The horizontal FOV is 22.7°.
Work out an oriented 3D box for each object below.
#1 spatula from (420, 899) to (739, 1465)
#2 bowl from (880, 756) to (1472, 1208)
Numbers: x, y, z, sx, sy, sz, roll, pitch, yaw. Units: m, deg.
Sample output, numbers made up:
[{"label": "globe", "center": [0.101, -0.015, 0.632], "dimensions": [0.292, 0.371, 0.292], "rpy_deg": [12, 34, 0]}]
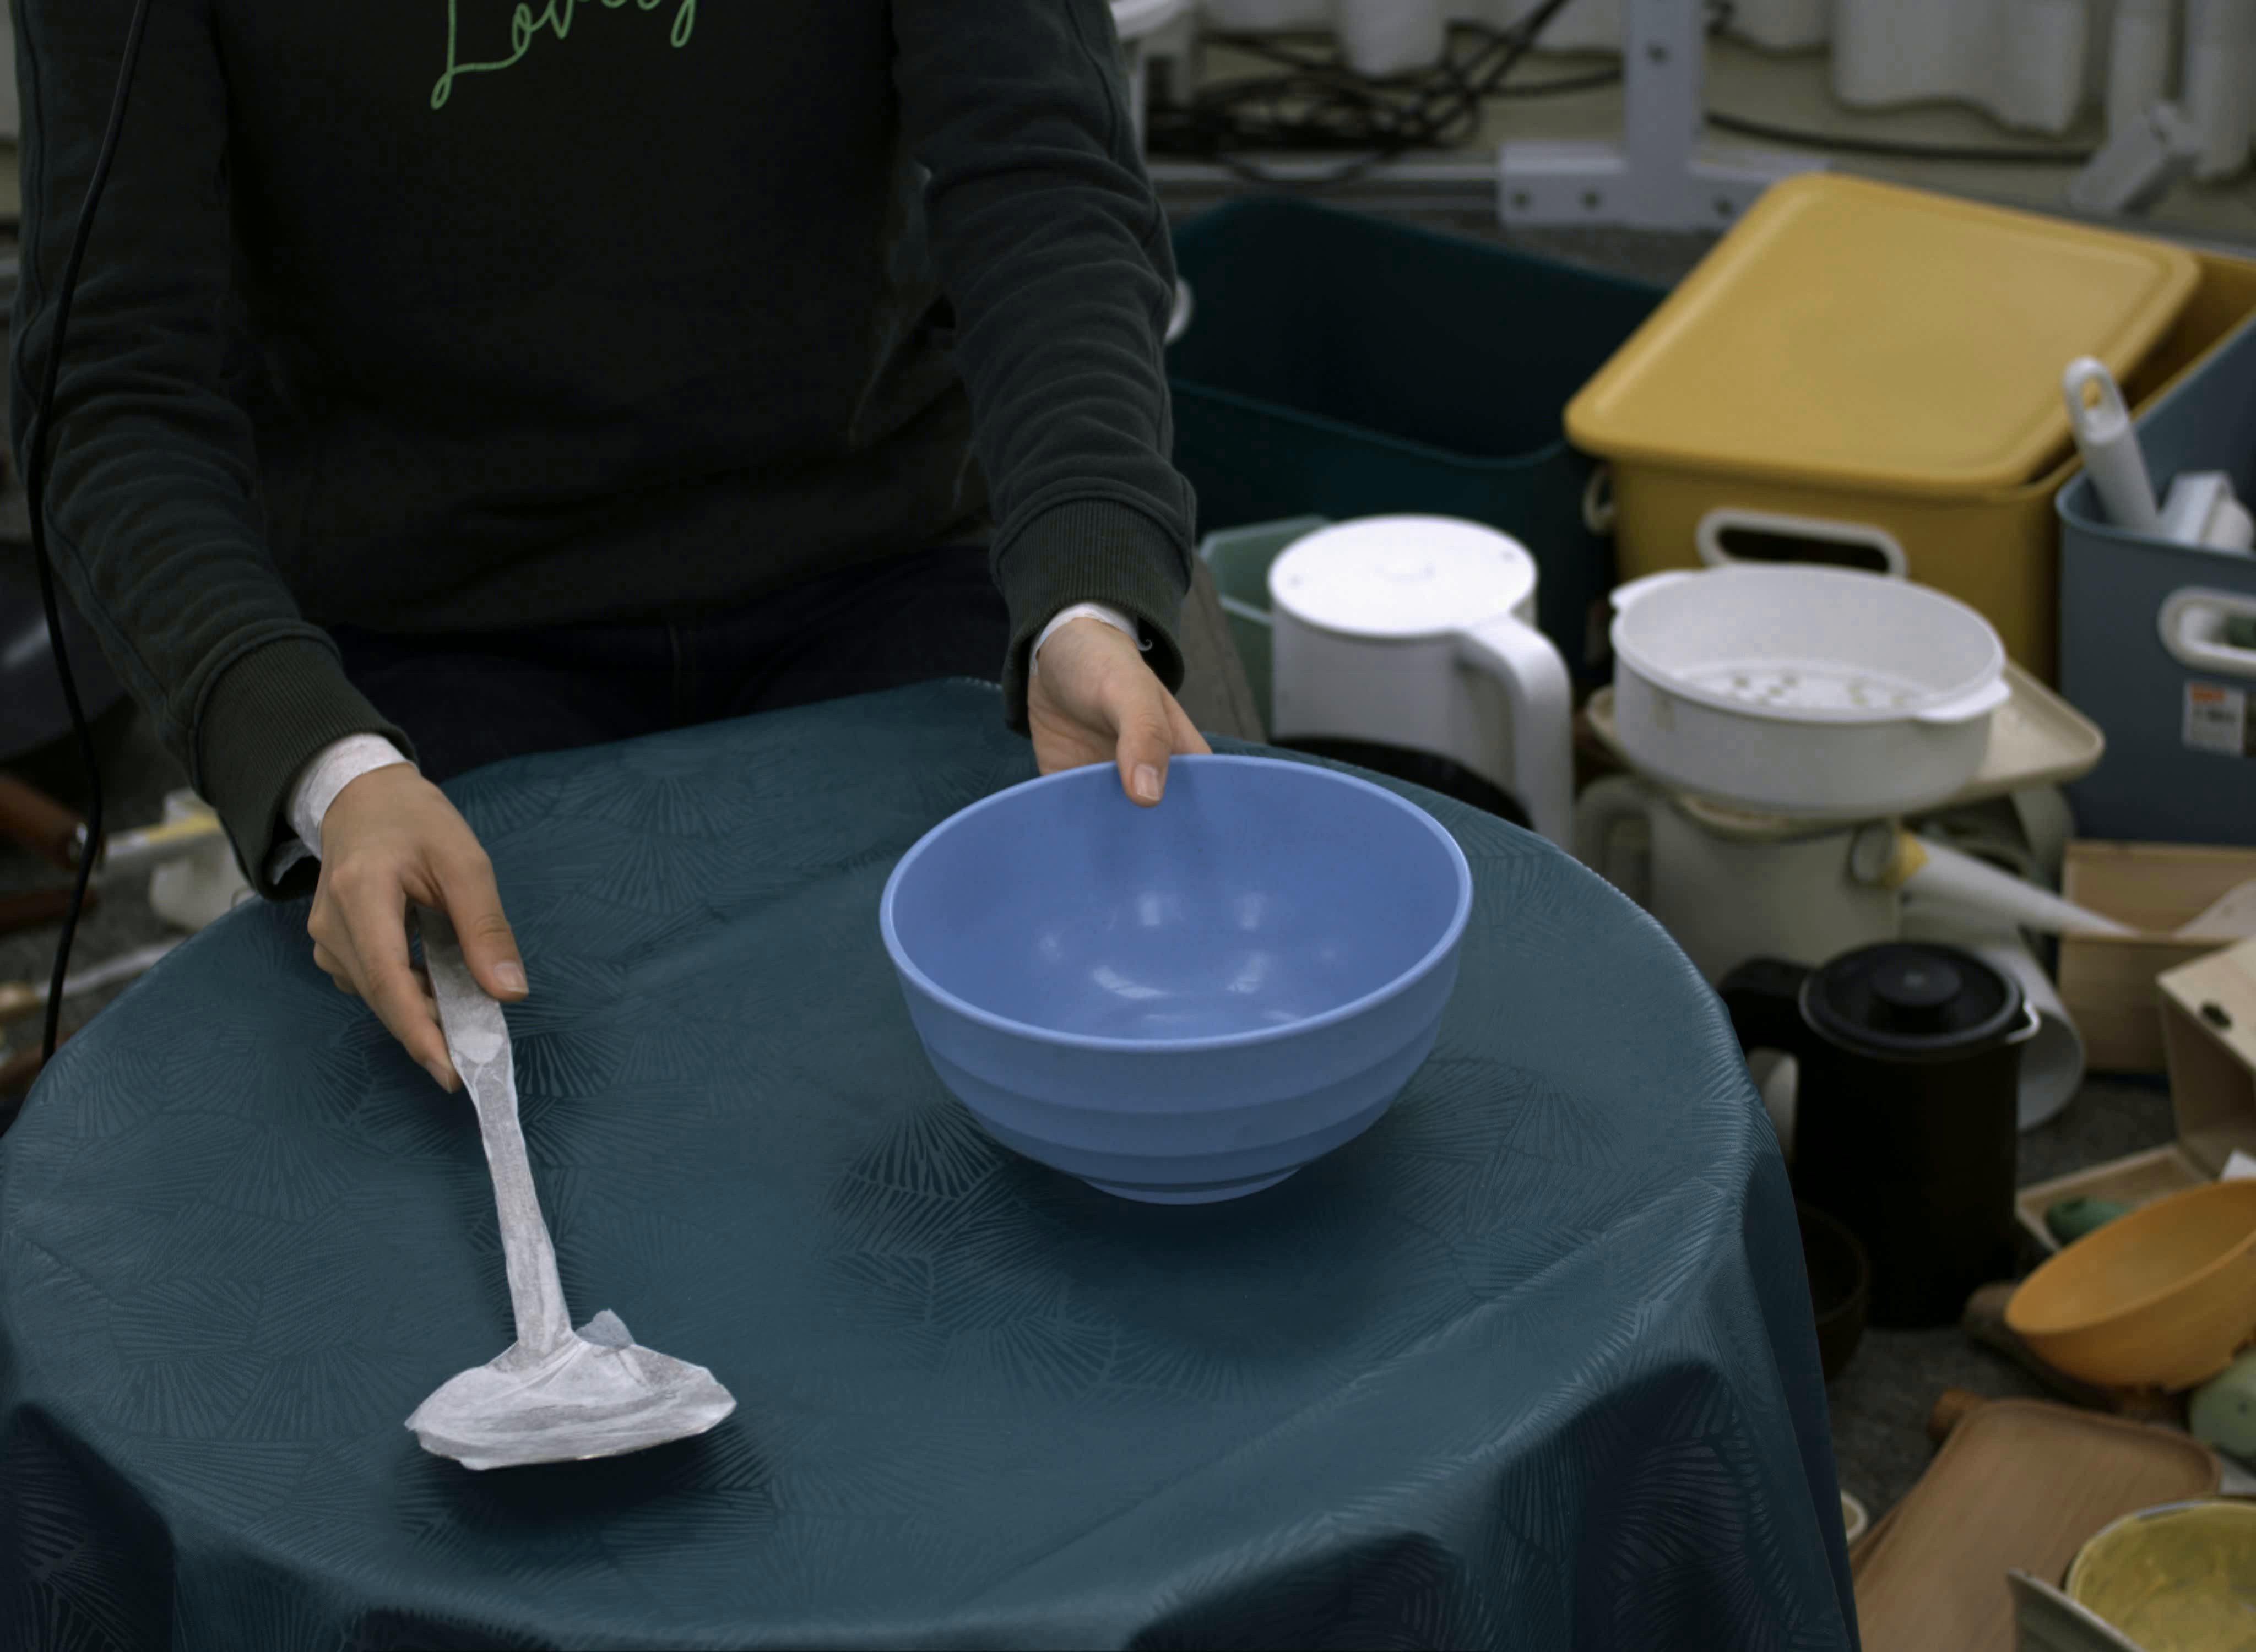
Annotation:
[{"label": "spatula", "center": [-0.199, 0.108, 1.843], "dimensions": [0.098, 0.044, 0.370], "rpy_deg": [-8, 34, -10]}, {"label": "bowl", "center": [0.019, 0.063, 1.871], "dimensions": [0.195, 0.094, 0.199], "rpy_deg": [-3, 28, 2]}]
